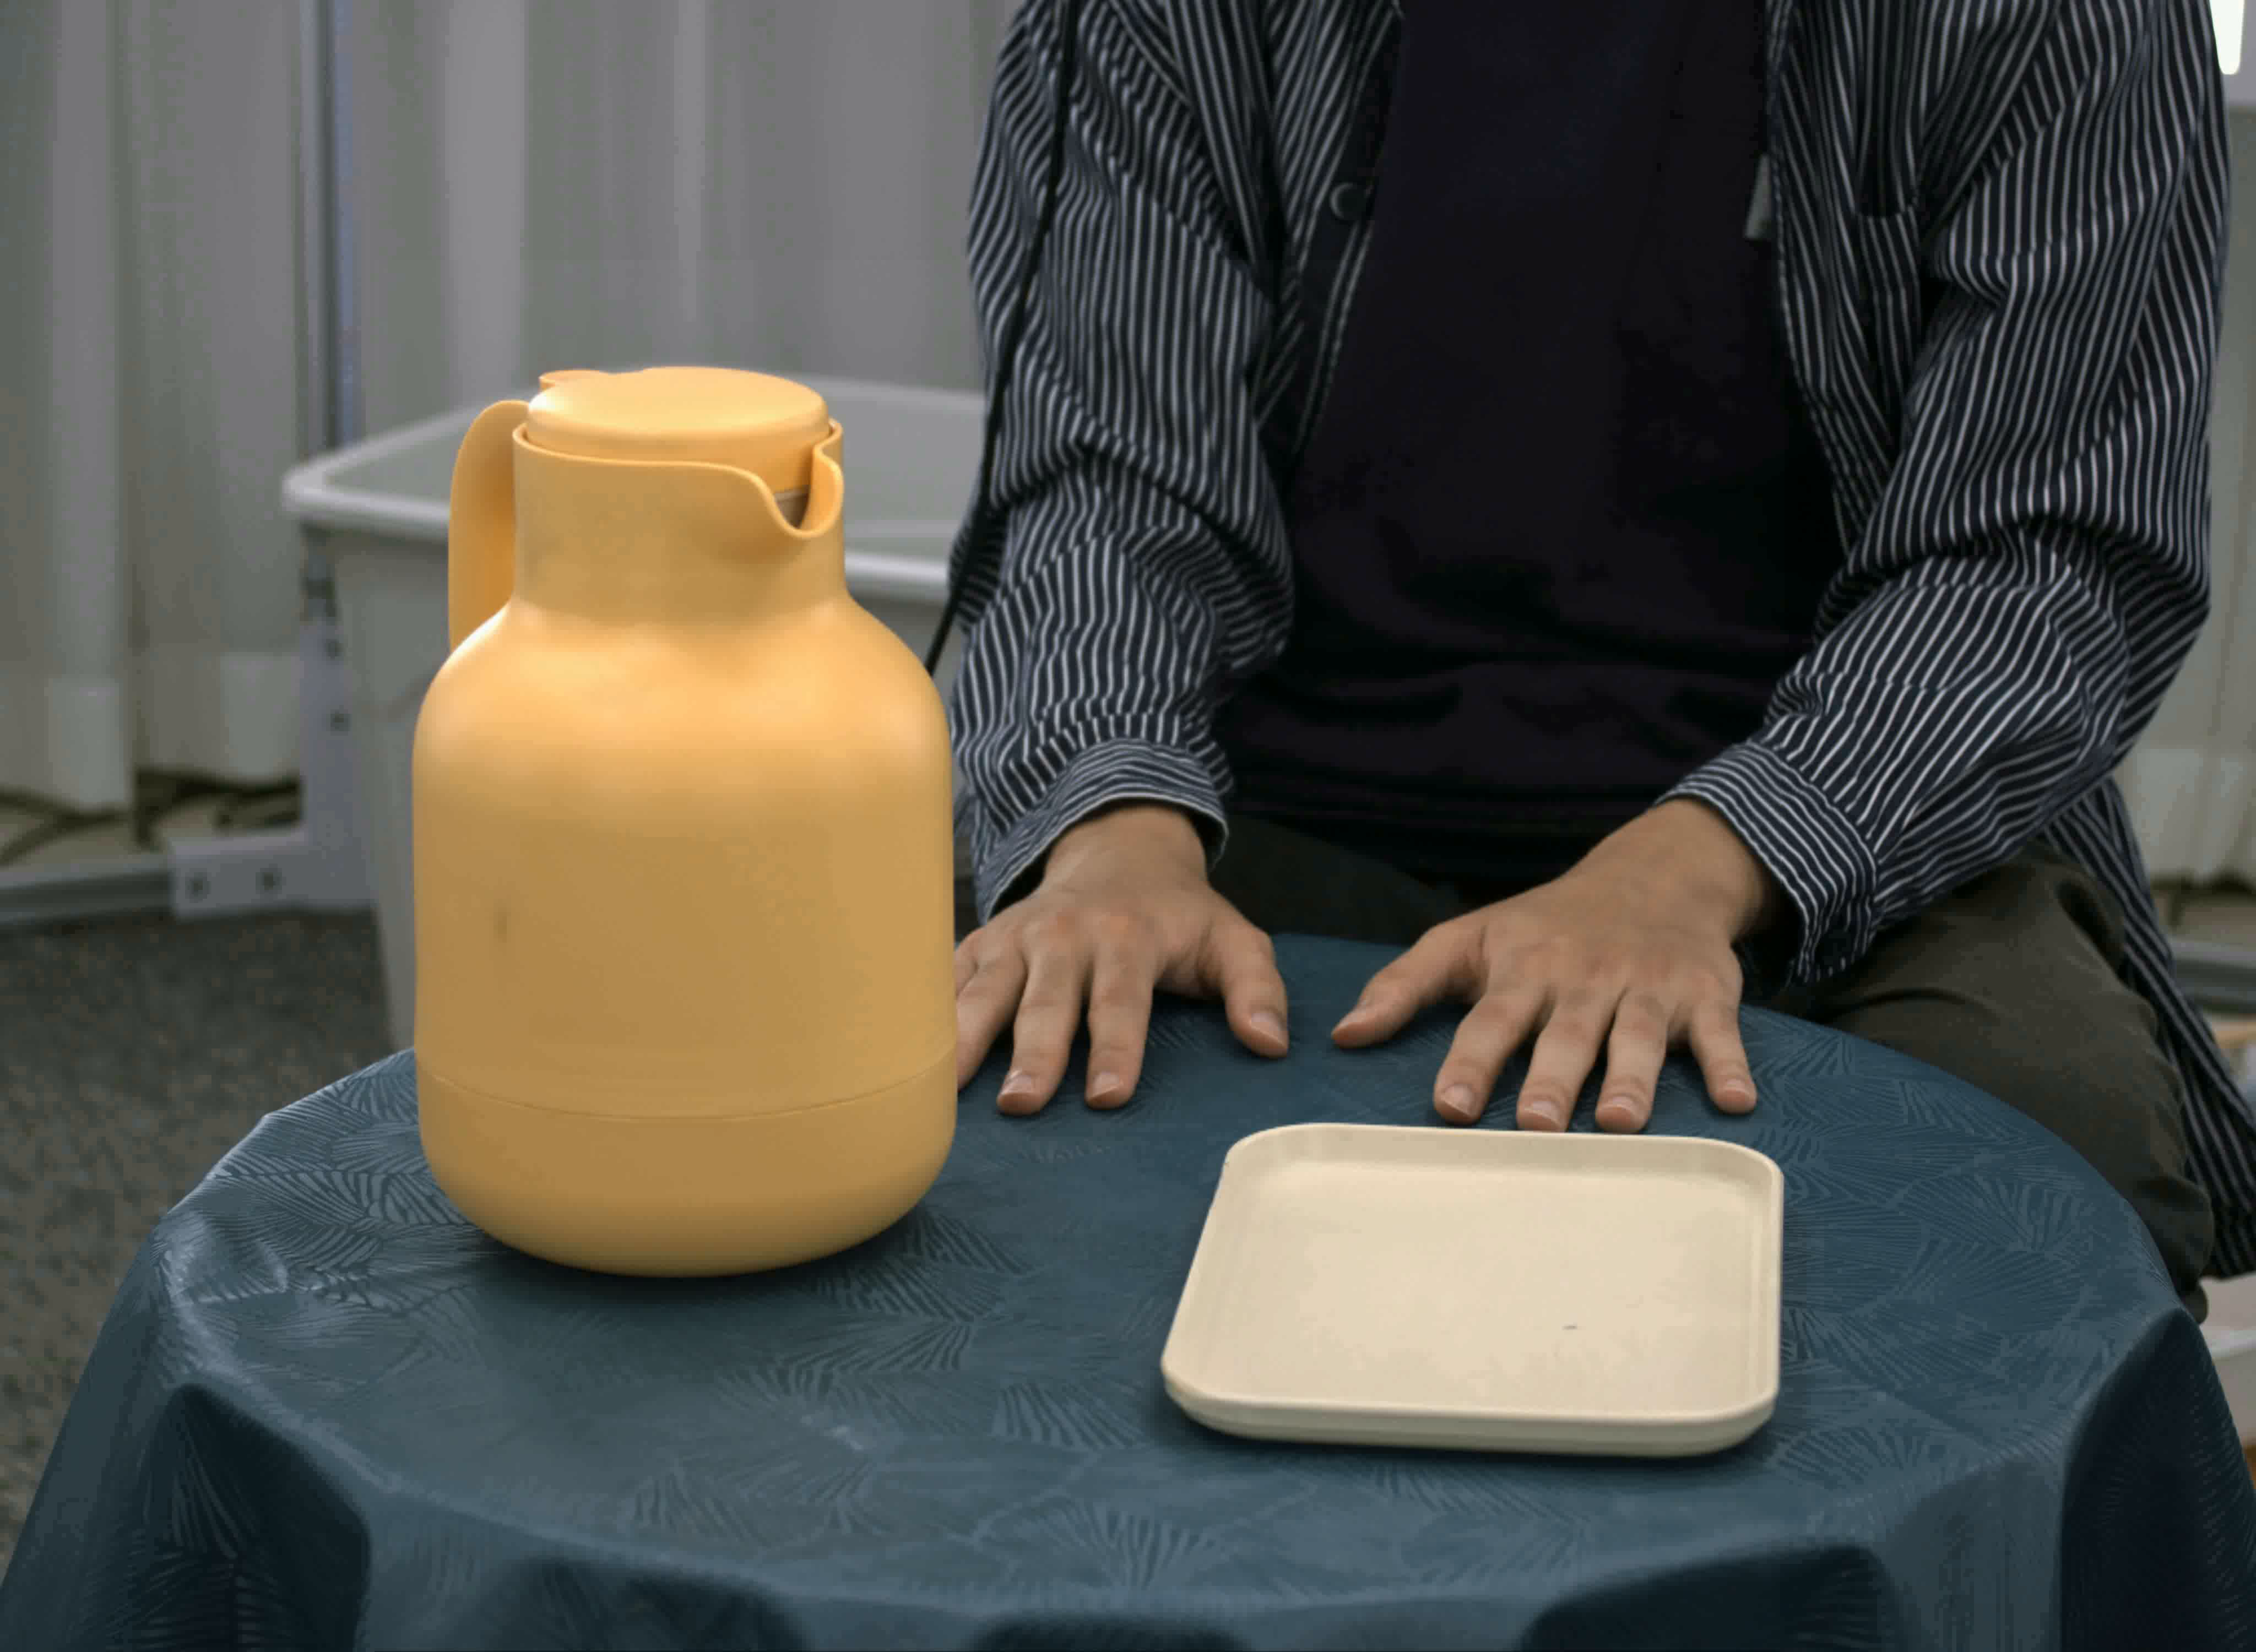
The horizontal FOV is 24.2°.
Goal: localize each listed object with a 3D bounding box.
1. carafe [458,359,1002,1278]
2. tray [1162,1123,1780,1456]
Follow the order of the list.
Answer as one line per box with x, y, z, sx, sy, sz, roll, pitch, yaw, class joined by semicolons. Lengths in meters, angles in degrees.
-0.129;-0.011;1.578;0.164;0.262;0.199;-10;20;-37;carafe
0.103;0.133;1.525;0.170;0.017;0.239;3;15;6;tray
